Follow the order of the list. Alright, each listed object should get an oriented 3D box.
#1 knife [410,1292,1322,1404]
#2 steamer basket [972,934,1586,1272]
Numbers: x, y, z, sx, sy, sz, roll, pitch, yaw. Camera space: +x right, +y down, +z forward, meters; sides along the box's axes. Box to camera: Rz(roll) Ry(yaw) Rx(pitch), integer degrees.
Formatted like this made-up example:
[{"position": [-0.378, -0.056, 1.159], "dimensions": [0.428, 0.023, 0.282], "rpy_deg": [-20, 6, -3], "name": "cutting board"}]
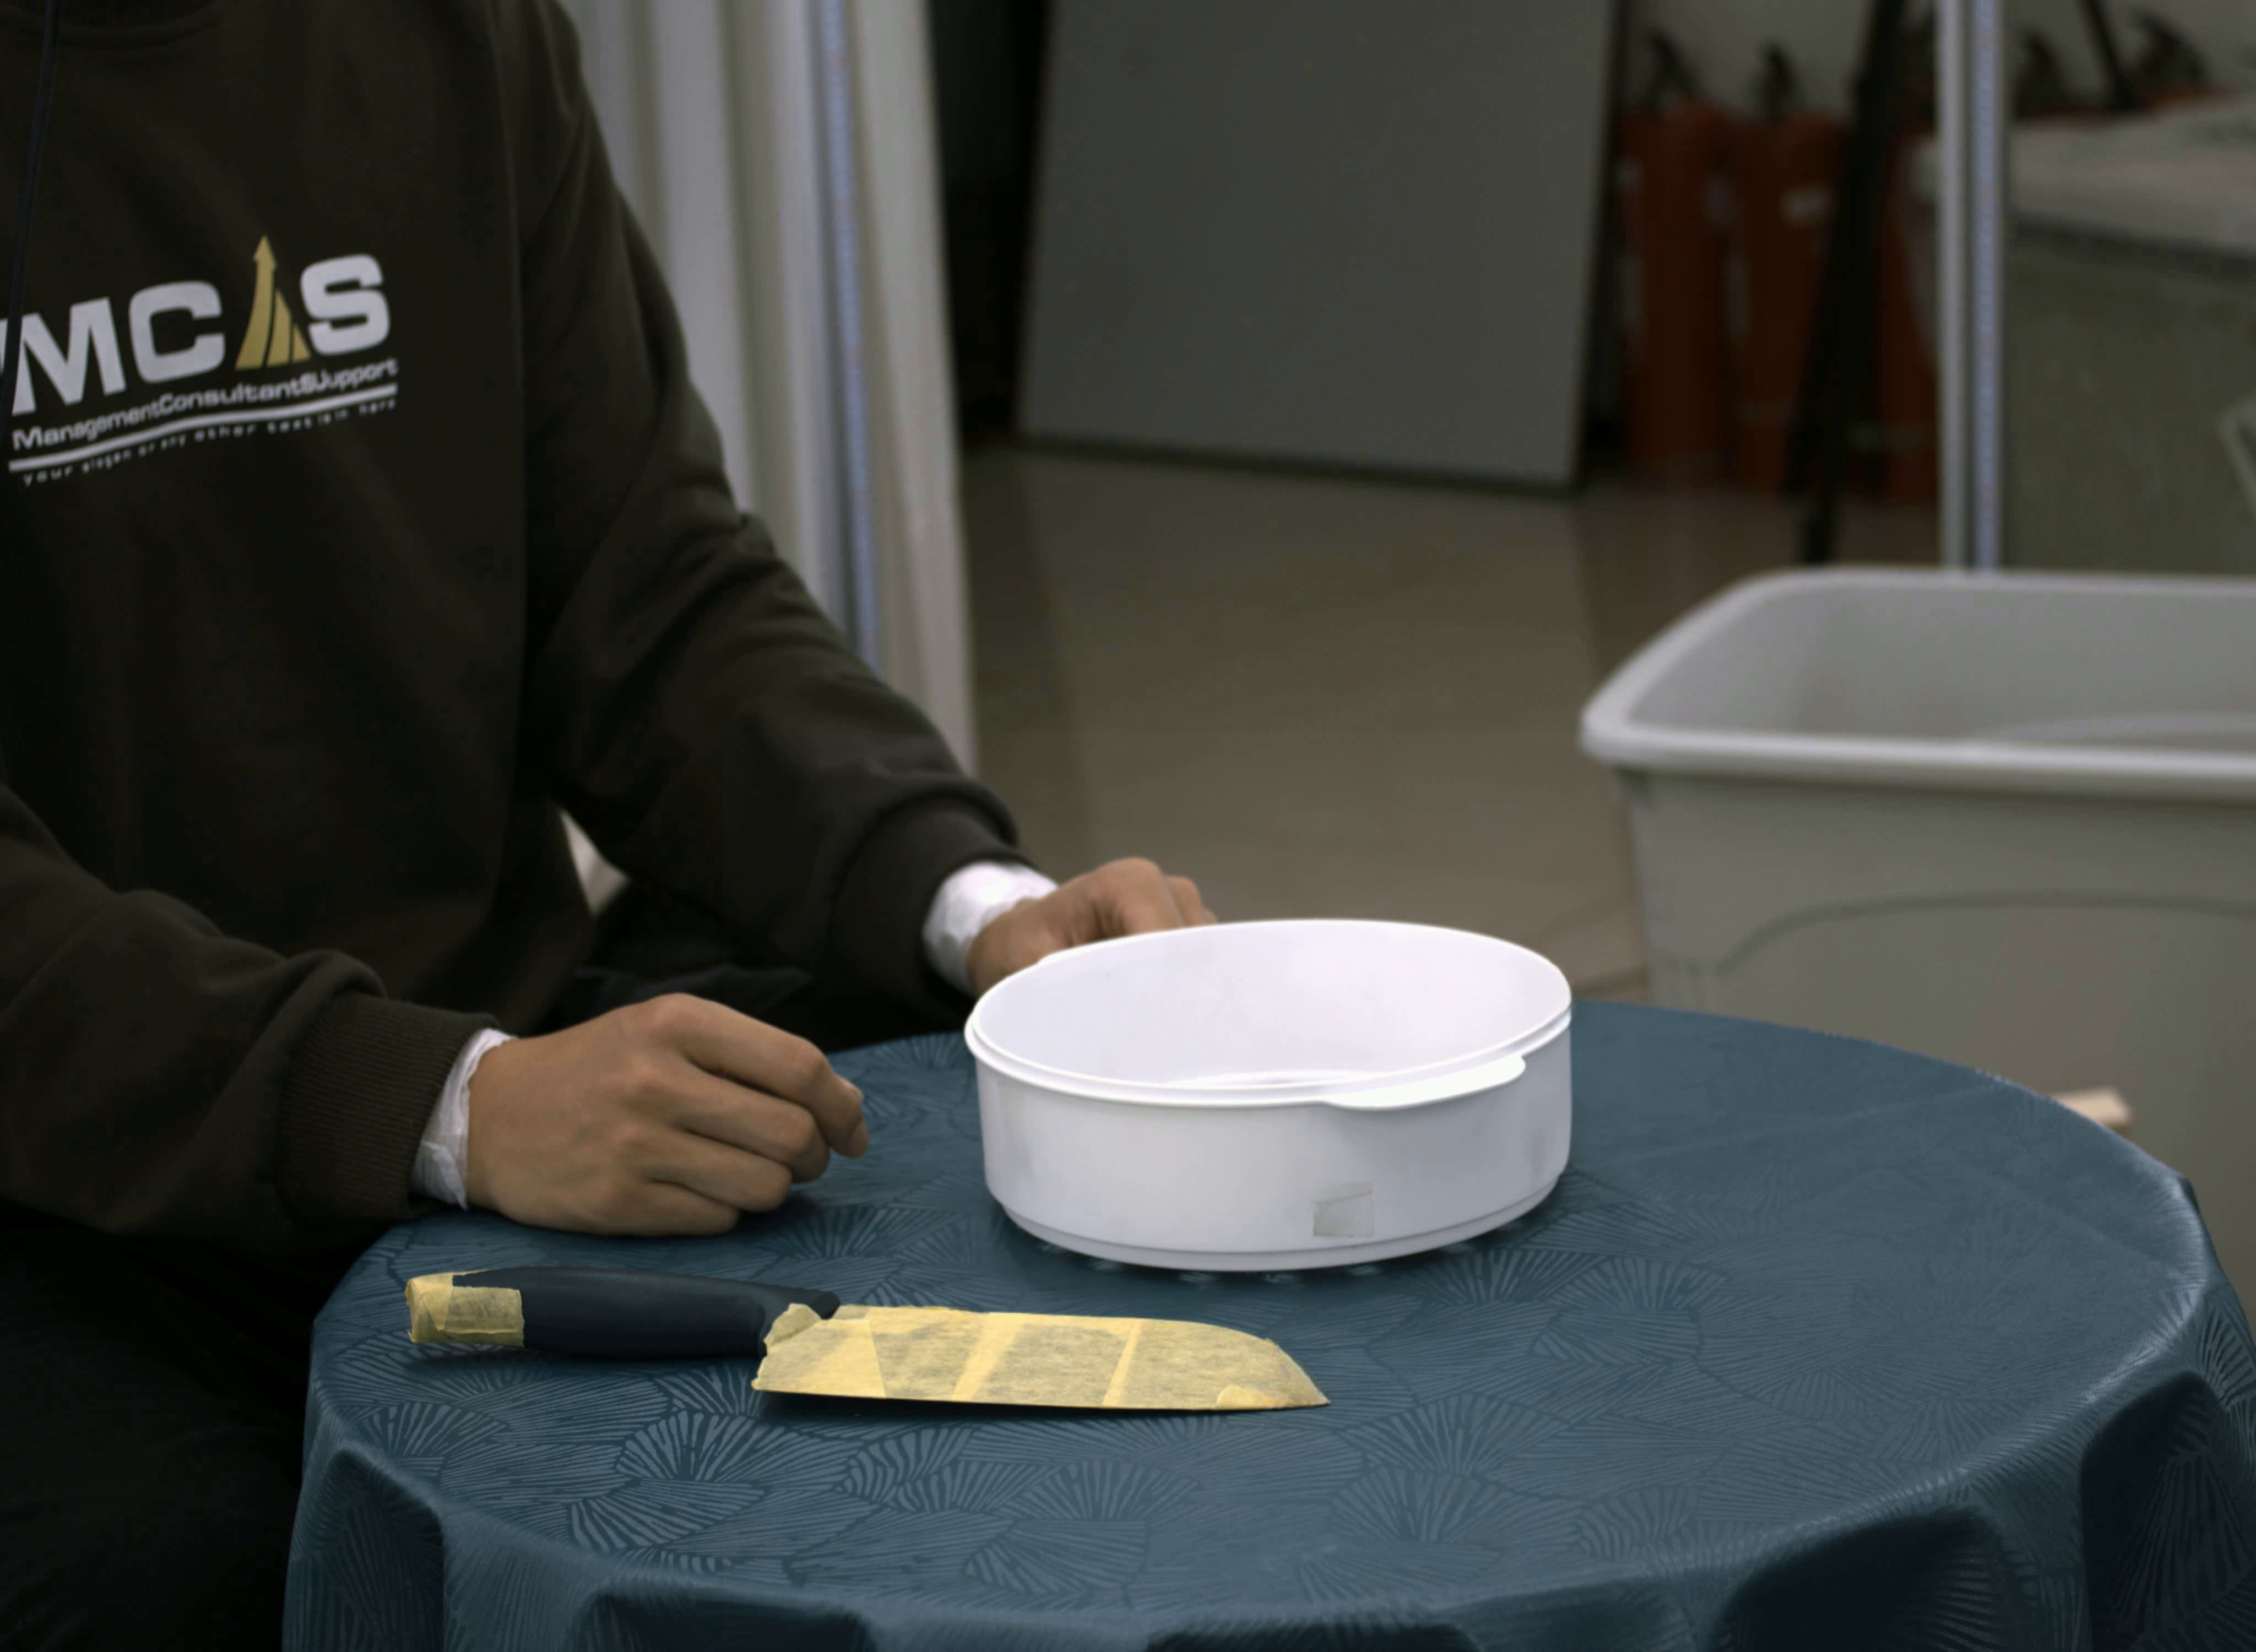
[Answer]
[{"position": [-0.081, 0.159, 1.612], "dimensions": [0.288, 0.027, 0.080], "rpy_deg": [0, 13, 13], "name": "knife"}, {"position": [0.051, 0.090, 1.748], "dimensions": [0.197, 0.070, 0.233], "rpy_deg": [-10, 13, -26], "name": "steamer basket"}]
